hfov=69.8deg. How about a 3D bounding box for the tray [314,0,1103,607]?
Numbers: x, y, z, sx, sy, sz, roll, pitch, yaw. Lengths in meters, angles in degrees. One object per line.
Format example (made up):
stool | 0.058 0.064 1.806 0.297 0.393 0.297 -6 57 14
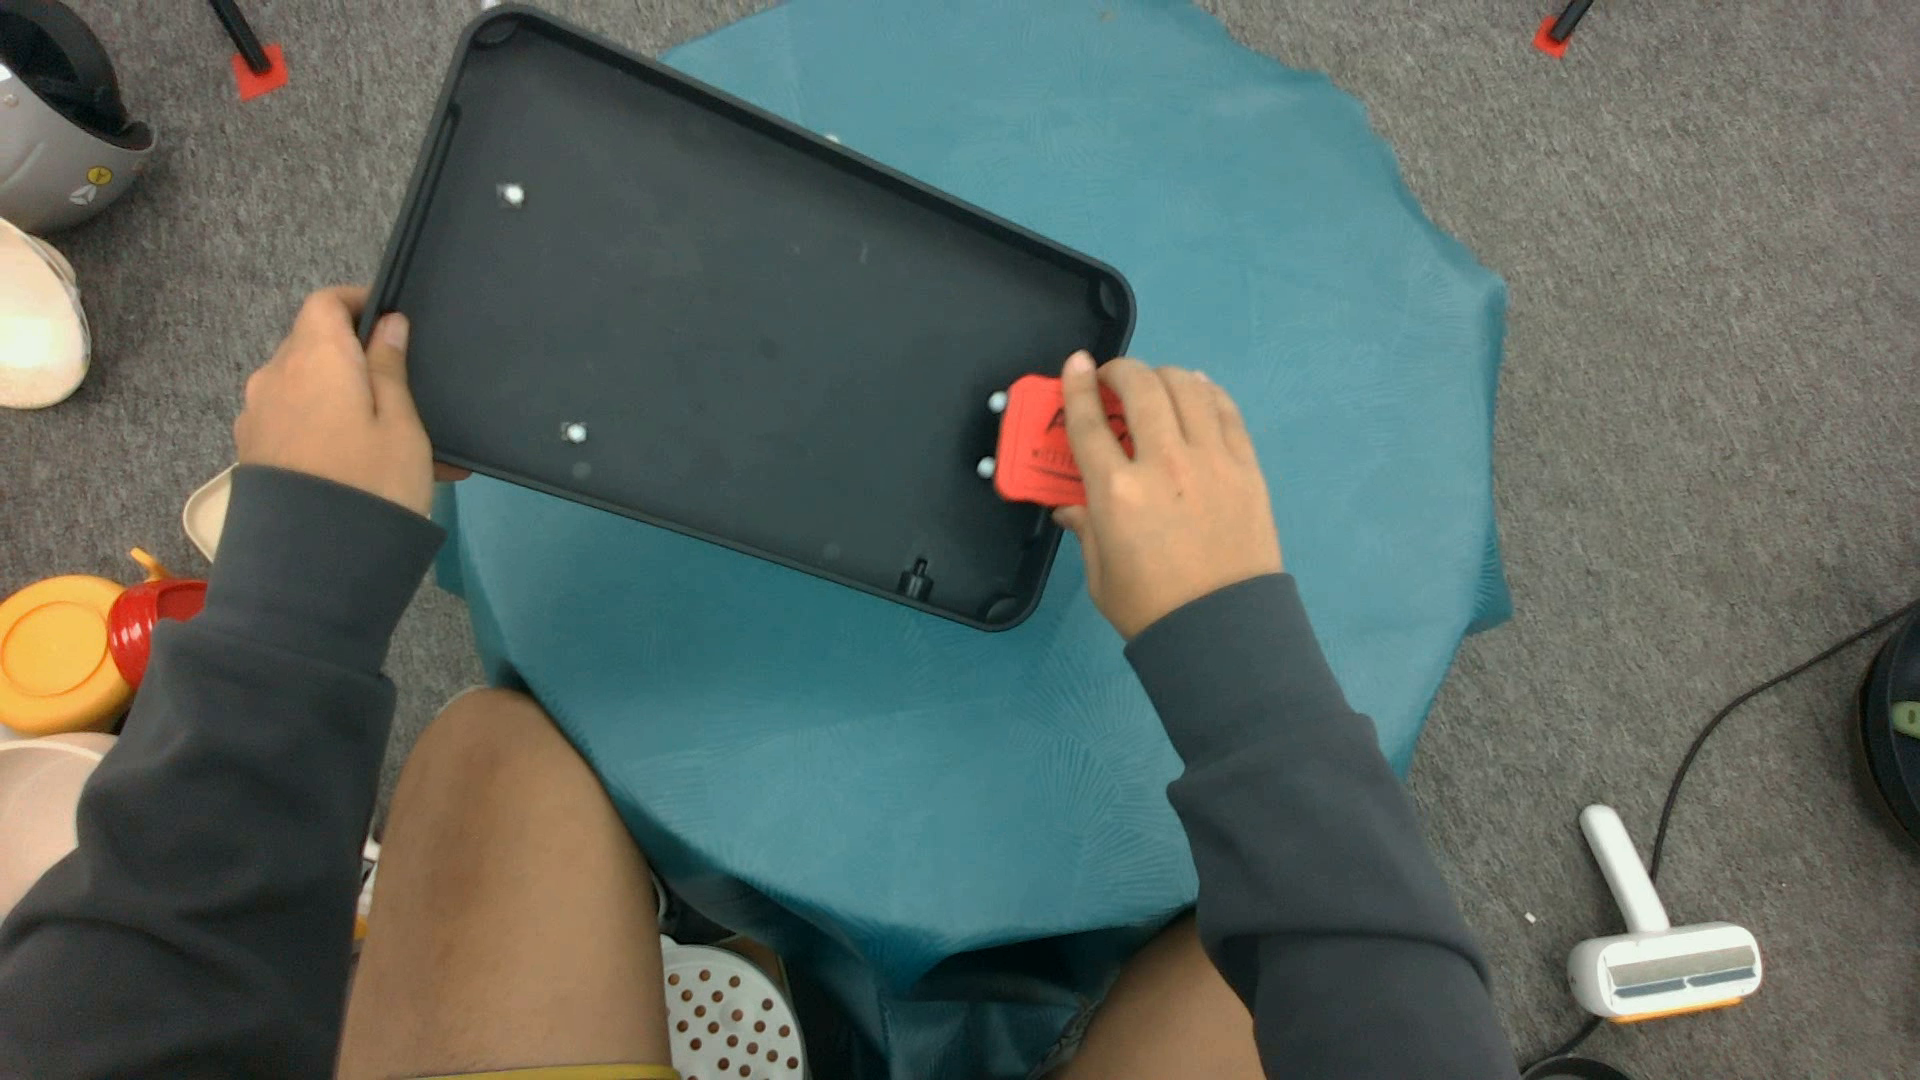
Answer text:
tray | -0.098 -0.094 0.615 0.318 0.037 0.184 17 92 -24

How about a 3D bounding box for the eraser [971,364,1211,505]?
eraser | 0.061 -0.049 0.648 0.108 0.023 0.059 5 97 -7
